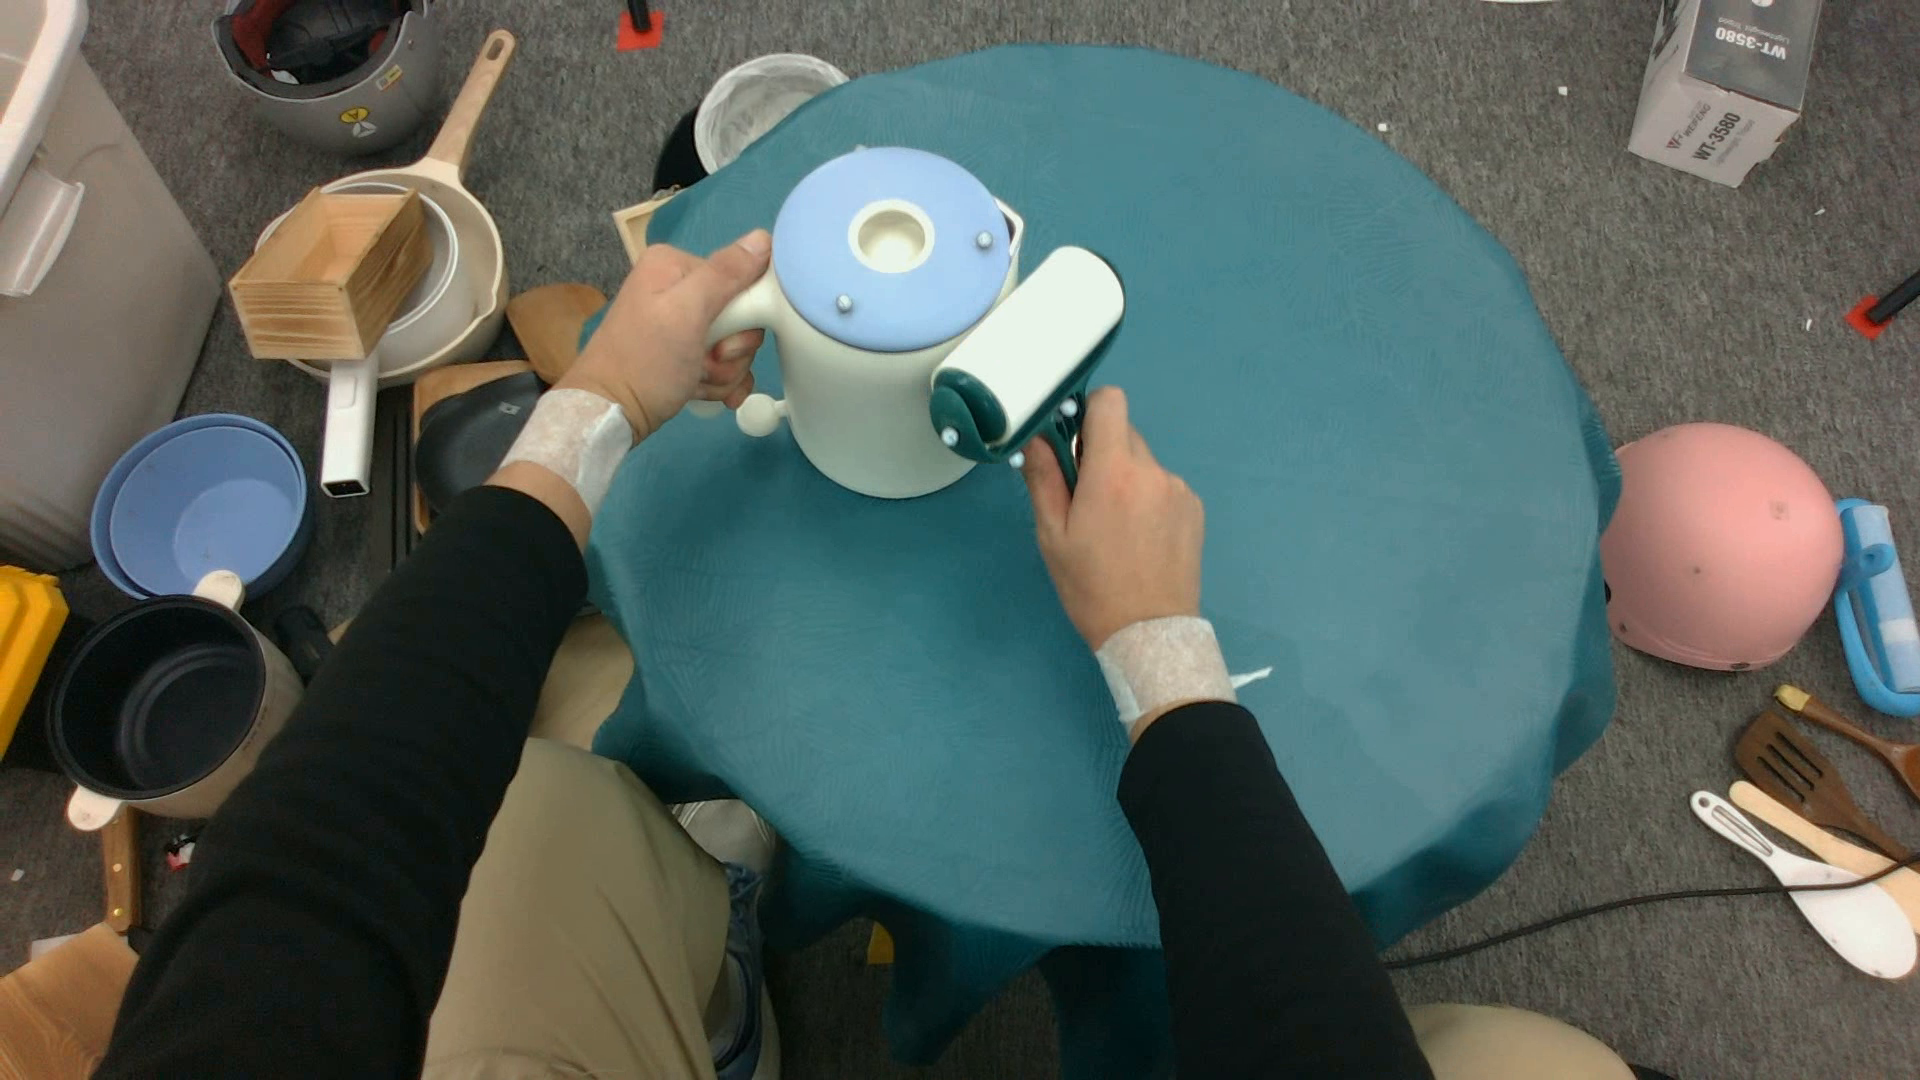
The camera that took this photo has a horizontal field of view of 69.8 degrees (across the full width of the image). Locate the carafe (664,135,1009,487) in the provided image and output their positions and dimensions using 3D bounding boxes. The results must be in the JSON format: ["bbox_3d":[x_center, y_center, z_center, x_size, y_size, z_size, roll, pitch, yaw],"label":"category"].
[{"bbox_3d":[-0.067,-0.113,0.751,0.191,0.182,0.132,-16,69,-7],"label":"carafe"}]

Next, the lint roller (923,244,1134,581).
[{"bbox_3d":[0.061,-0.047,0.703,0.135,0.048,0.180,-48,120,-30],"label":"lint roller"}]
